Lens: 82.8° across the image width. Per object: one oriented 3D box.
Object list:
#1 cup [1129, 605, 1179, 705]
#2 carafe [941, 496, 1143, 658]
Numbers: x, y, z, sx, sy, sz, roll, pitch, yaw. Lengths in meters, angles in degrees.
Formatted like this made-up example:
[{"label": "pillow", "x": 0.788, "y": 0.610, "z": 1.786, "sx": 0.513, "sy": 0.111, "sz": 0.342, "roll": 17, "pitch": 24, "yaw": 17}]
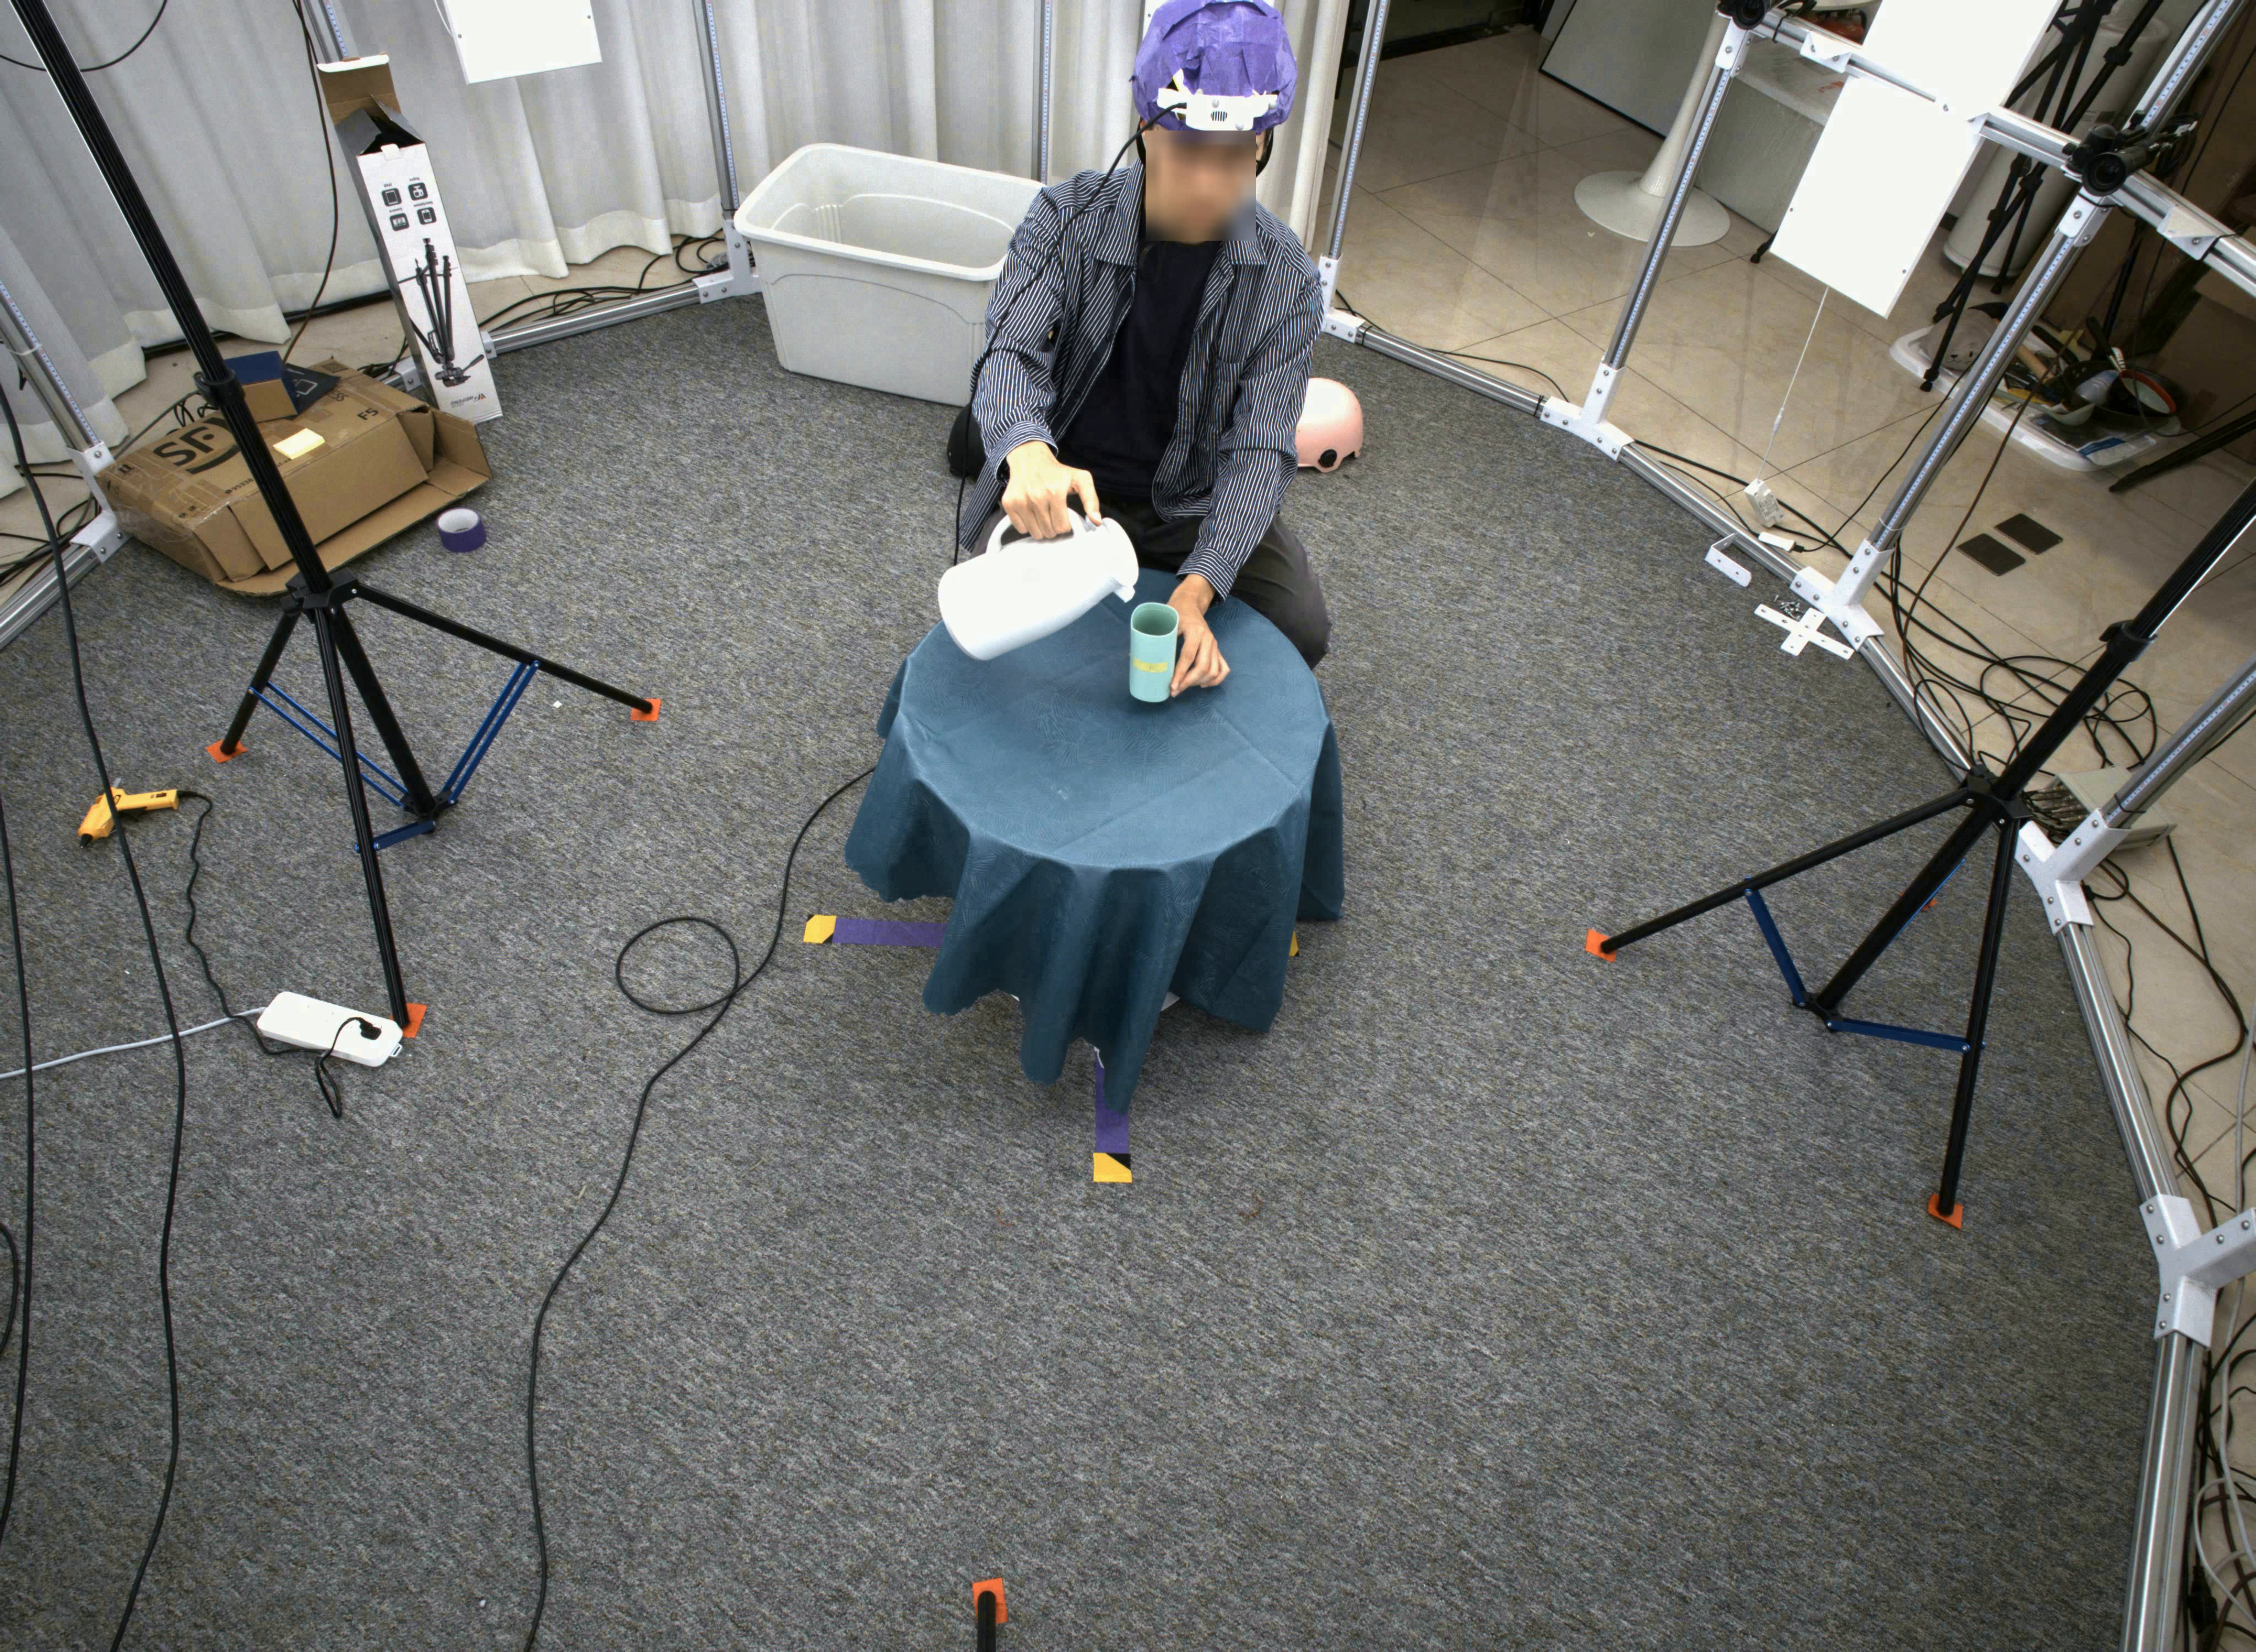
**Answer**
[{"label": "cup", "x": 0.035, "y": -0.233, "z": 1.746, "sx": 0.066, "sy": 0.129, "sz": 0.068, "roll": 1, "pitch": 52, "yaw": -1}, {"label": "carafe", "x": -0.113, "y": -0.331, "z": 1.648, "sx": 0.248, "sy": 0.164, "sz": 0.135, "roll": -18, "pitch": 33, "yaw": 28}]
